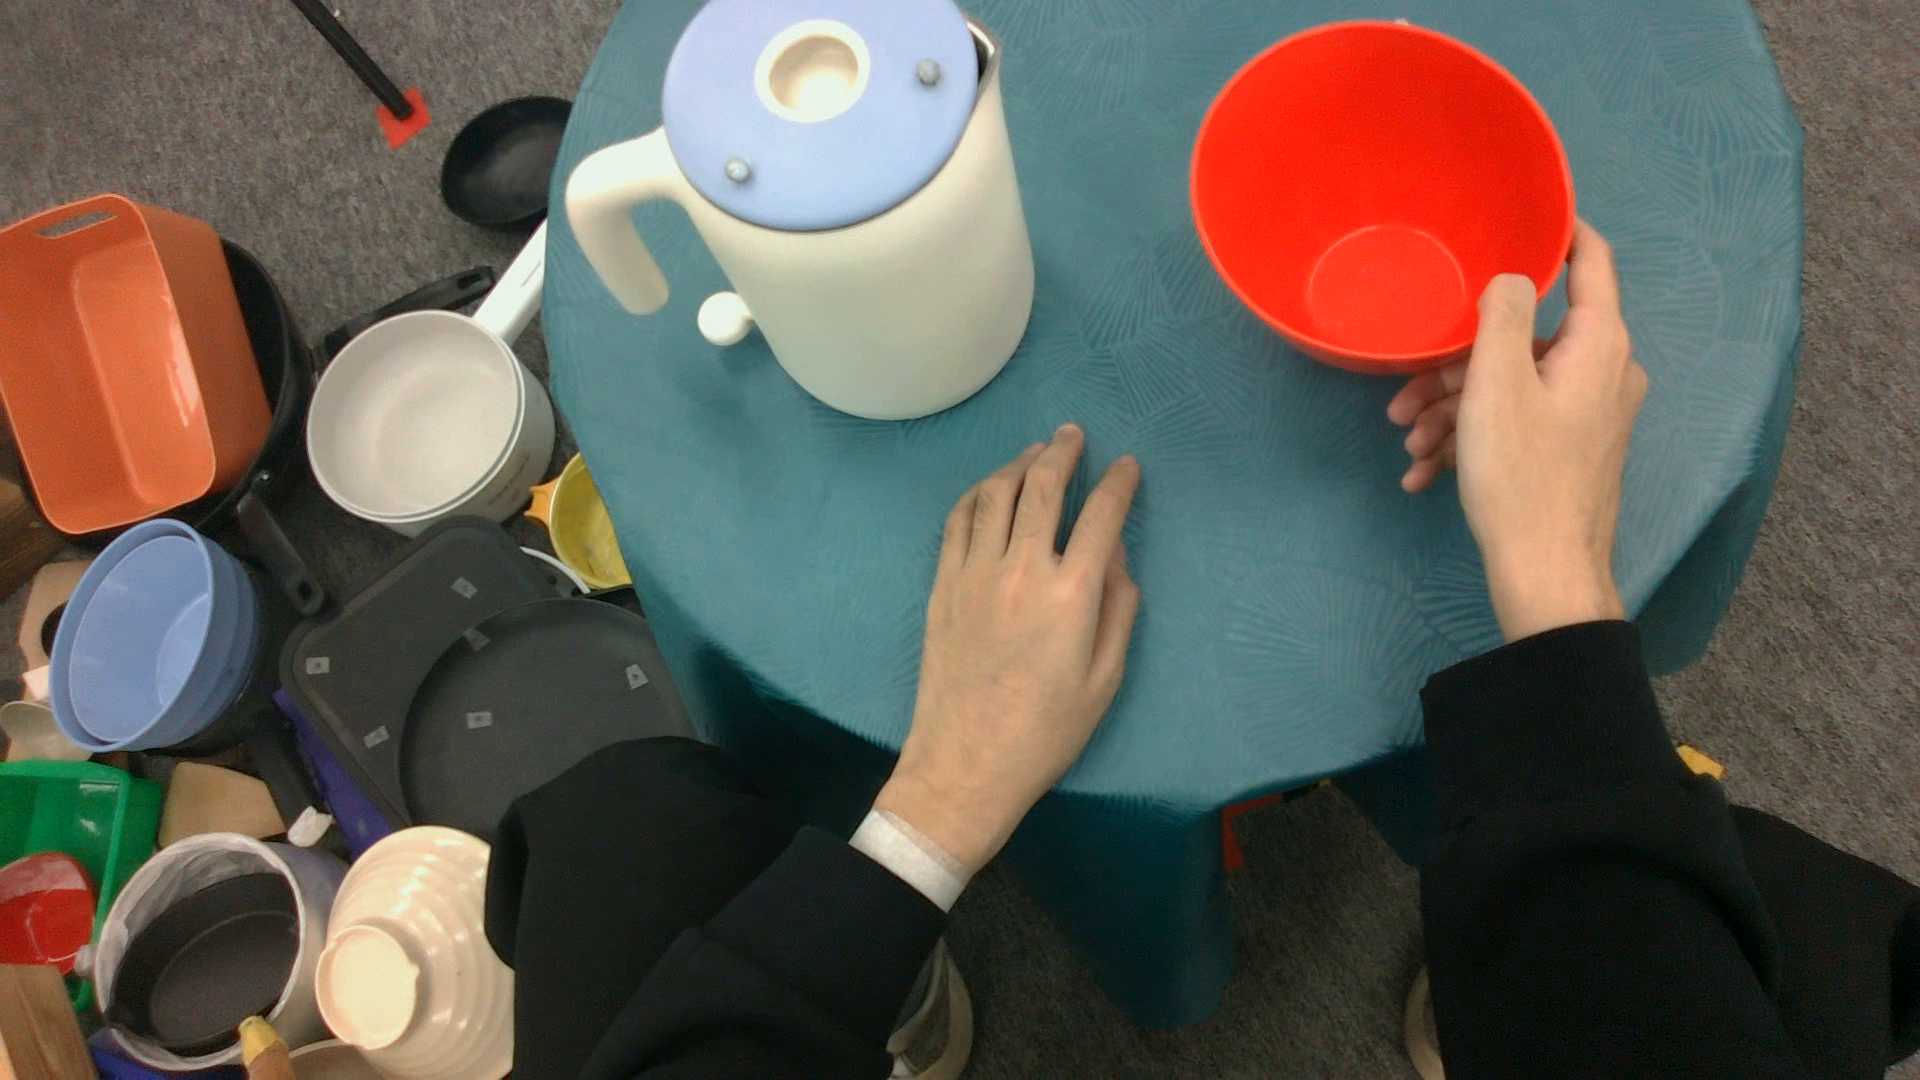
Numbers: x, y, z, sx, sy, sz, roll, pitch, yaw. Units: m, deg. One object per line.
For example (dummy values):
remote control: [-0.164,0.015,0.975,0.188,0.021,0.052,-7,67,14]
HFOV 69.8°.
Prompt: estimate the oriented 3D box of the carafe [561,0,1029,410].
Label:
carafe: [-0.067,-0.140,0.585,0.191,0.182,0.132,-14,69,6]

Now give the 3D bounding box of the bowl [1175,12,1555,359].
bowl: [0.167,-0.134,0.583,0.148,0.104,0.148,-3,71,9]
